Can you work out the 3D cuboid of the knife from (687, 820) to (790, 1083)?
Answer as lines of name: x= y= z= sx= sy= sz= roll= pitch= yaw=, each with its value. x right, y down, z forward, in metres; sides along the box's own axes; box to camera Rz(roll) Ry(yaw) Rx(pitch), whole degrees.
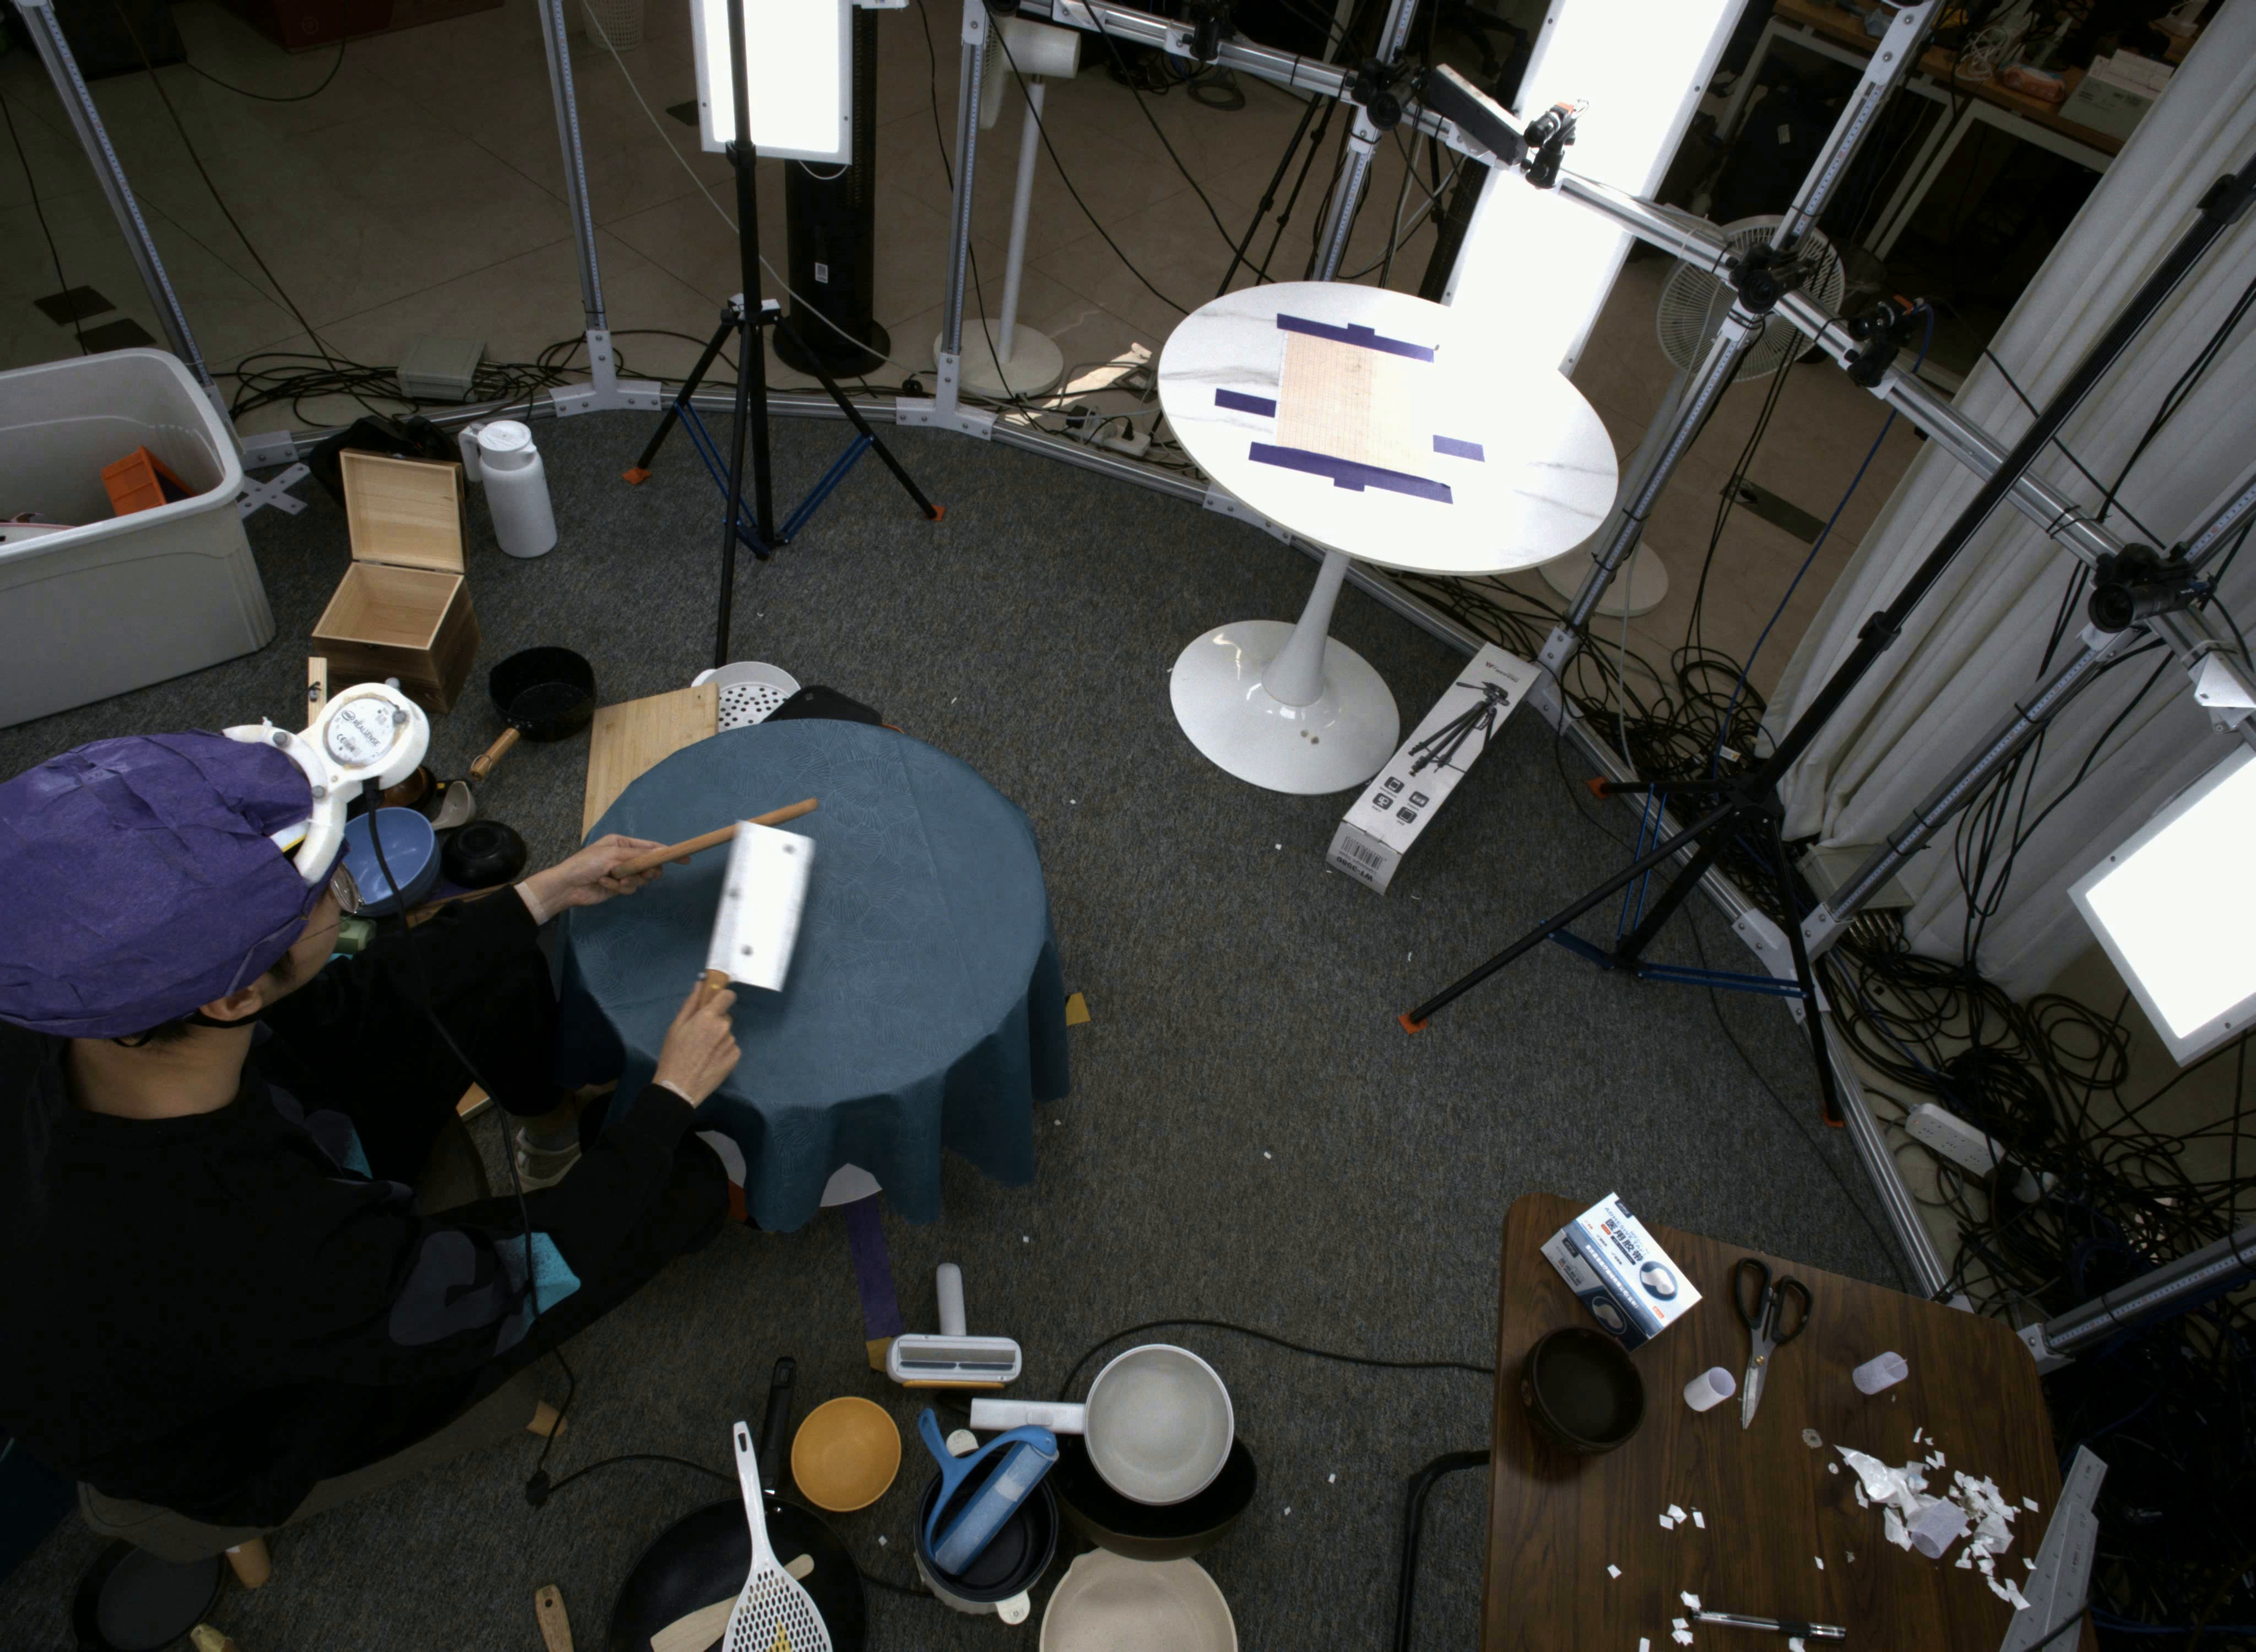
knife: x=-0.446 y=0.144 z=1.494 sx=0.094 sy=0.020 sz=0.305 roll=14 pitch=74 yaw=-28

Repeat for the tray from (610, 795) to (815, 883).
tray: x=-0.502 y=0.014 z=1.560 sx=0.252 sy=0.128 sz=0.023 roll=-23 pitch=92 yaw=-30
